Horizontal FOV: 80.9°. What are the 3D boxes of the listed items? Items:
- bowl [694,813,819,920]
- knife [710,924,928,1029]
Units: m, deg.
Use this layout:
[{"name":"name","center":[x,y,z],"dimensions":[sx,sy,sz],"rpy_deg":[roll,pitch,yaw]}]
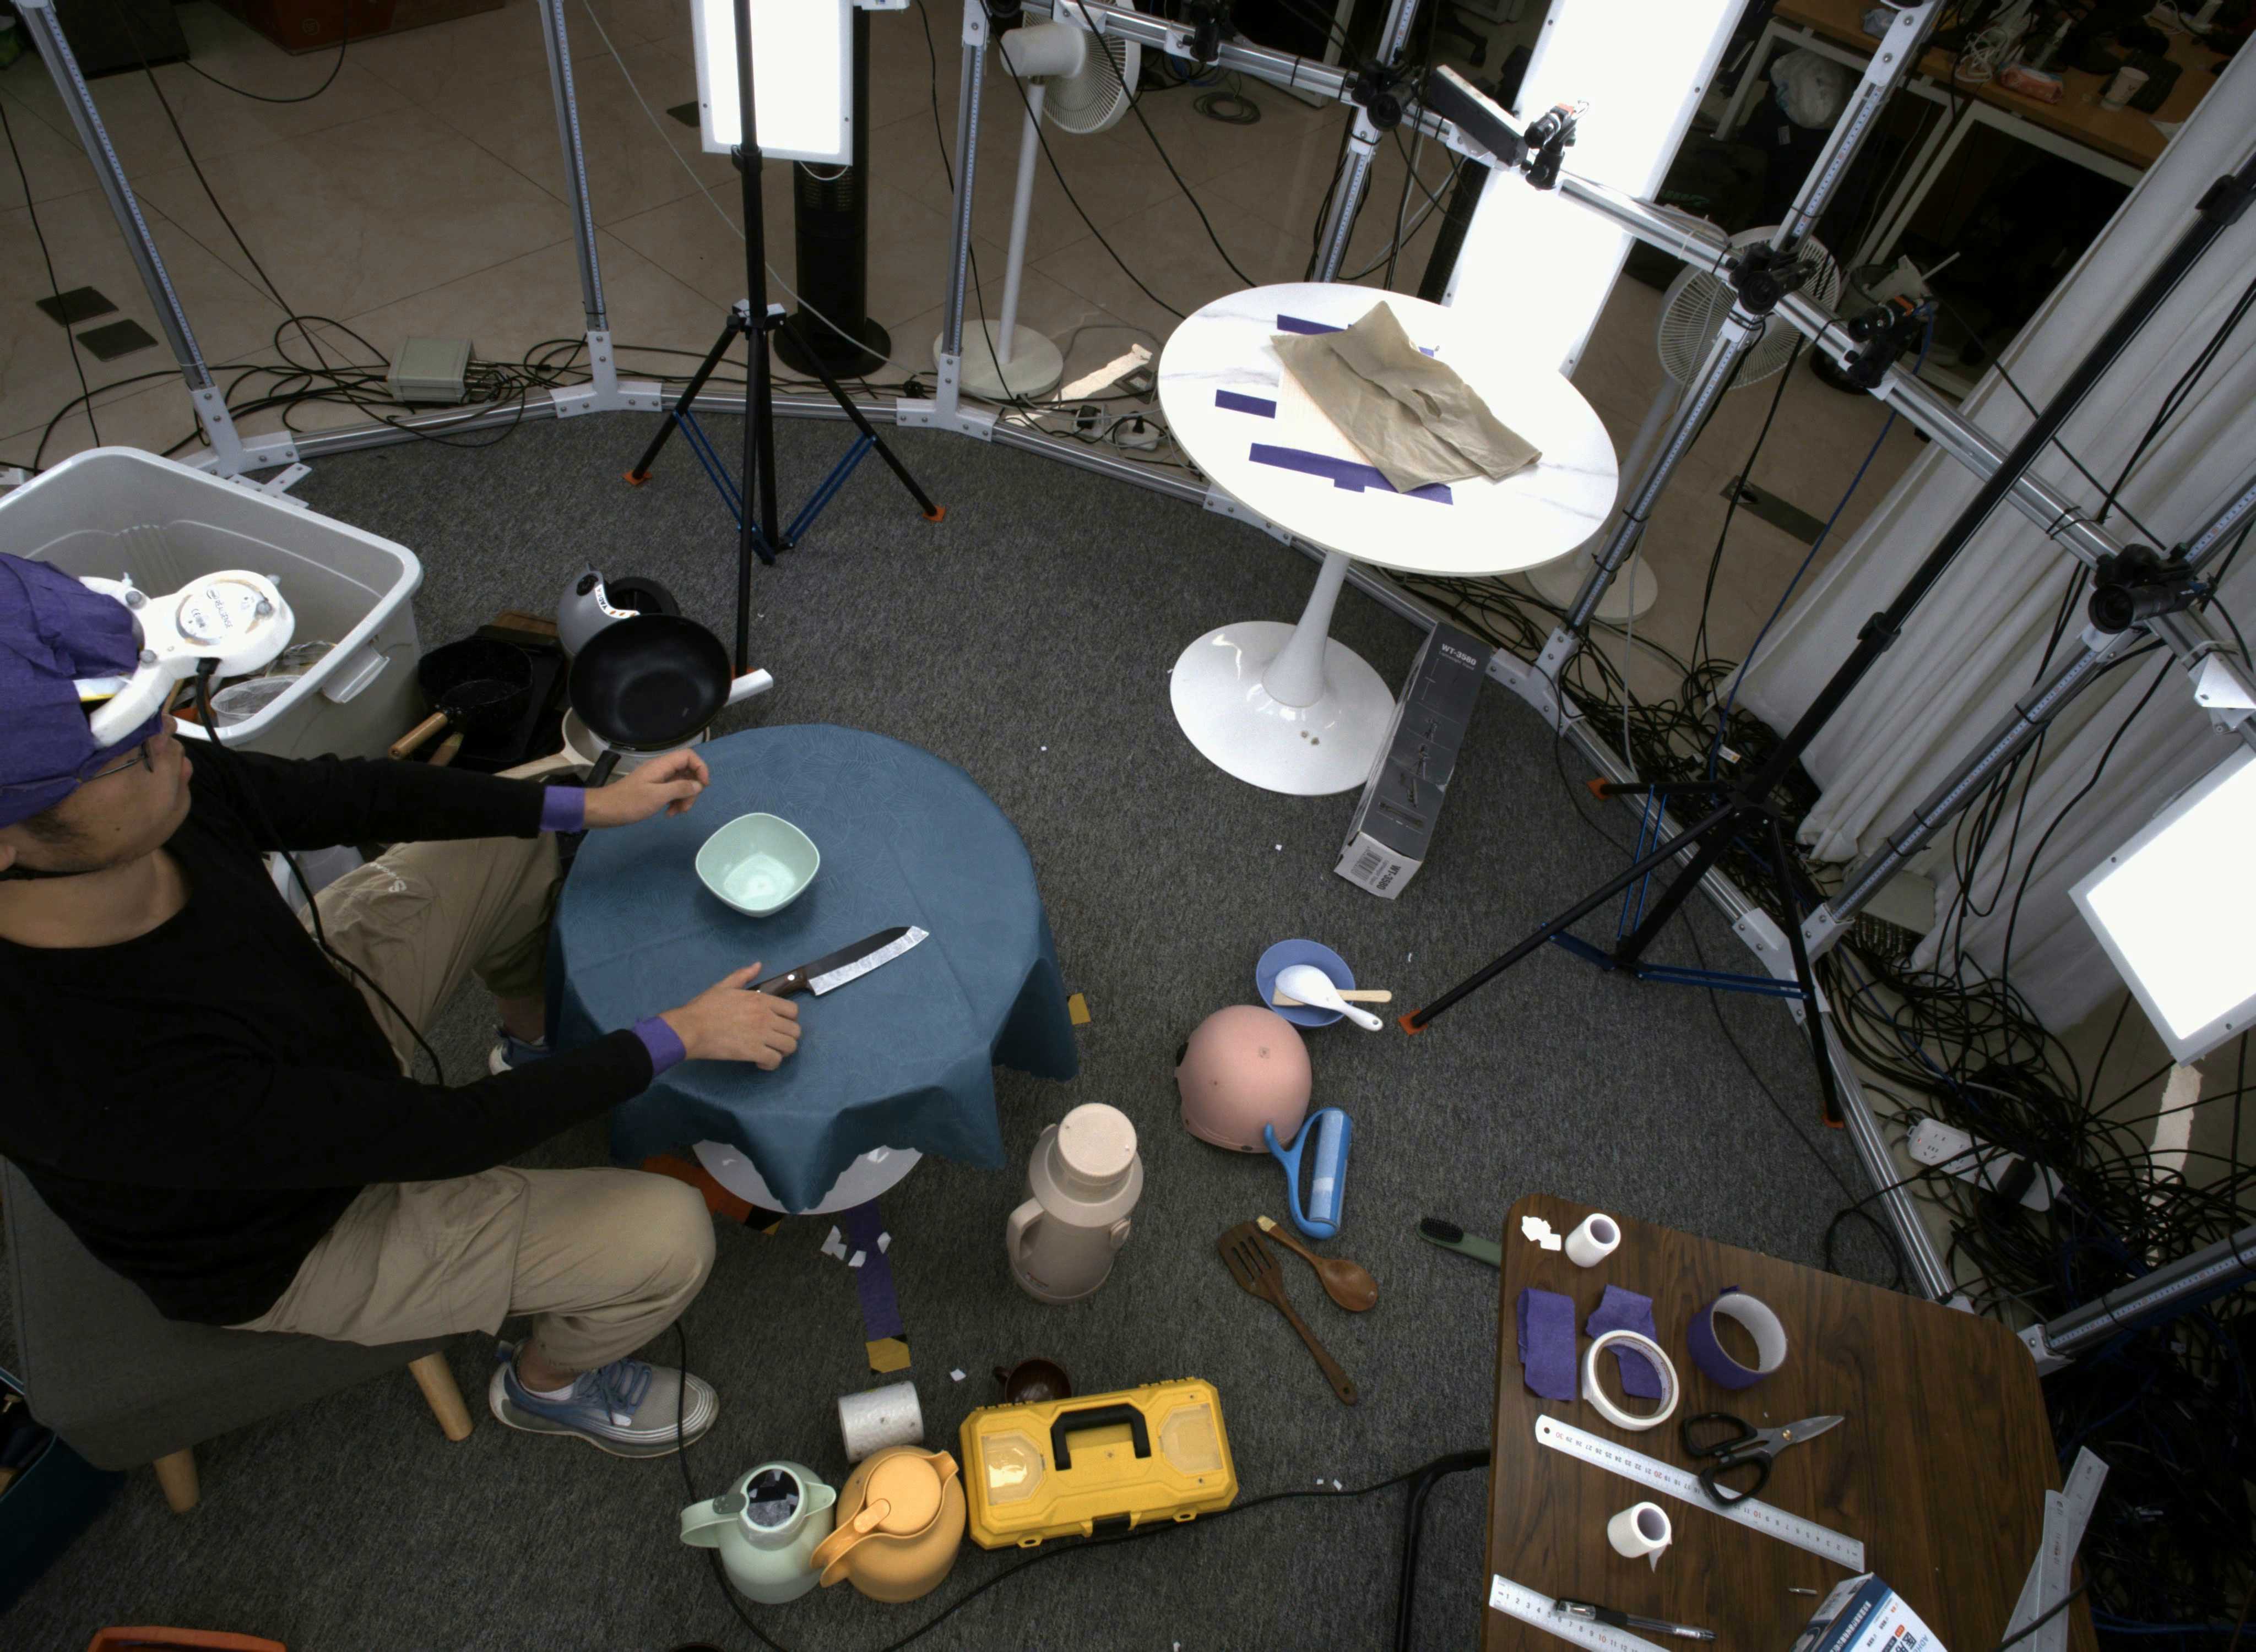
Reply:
[{"name":"bowl","center":[-0.466,0.059,1.630],"dimensions":[0.151,0.060,0.148],"rpy_deg":[9,51,-9]},{"name":"knife","center":[-0.373,0.179,1.592],"dimensions":[0.291,0.020,0.049],"rpy_deg":[-22,67,-31]}]
